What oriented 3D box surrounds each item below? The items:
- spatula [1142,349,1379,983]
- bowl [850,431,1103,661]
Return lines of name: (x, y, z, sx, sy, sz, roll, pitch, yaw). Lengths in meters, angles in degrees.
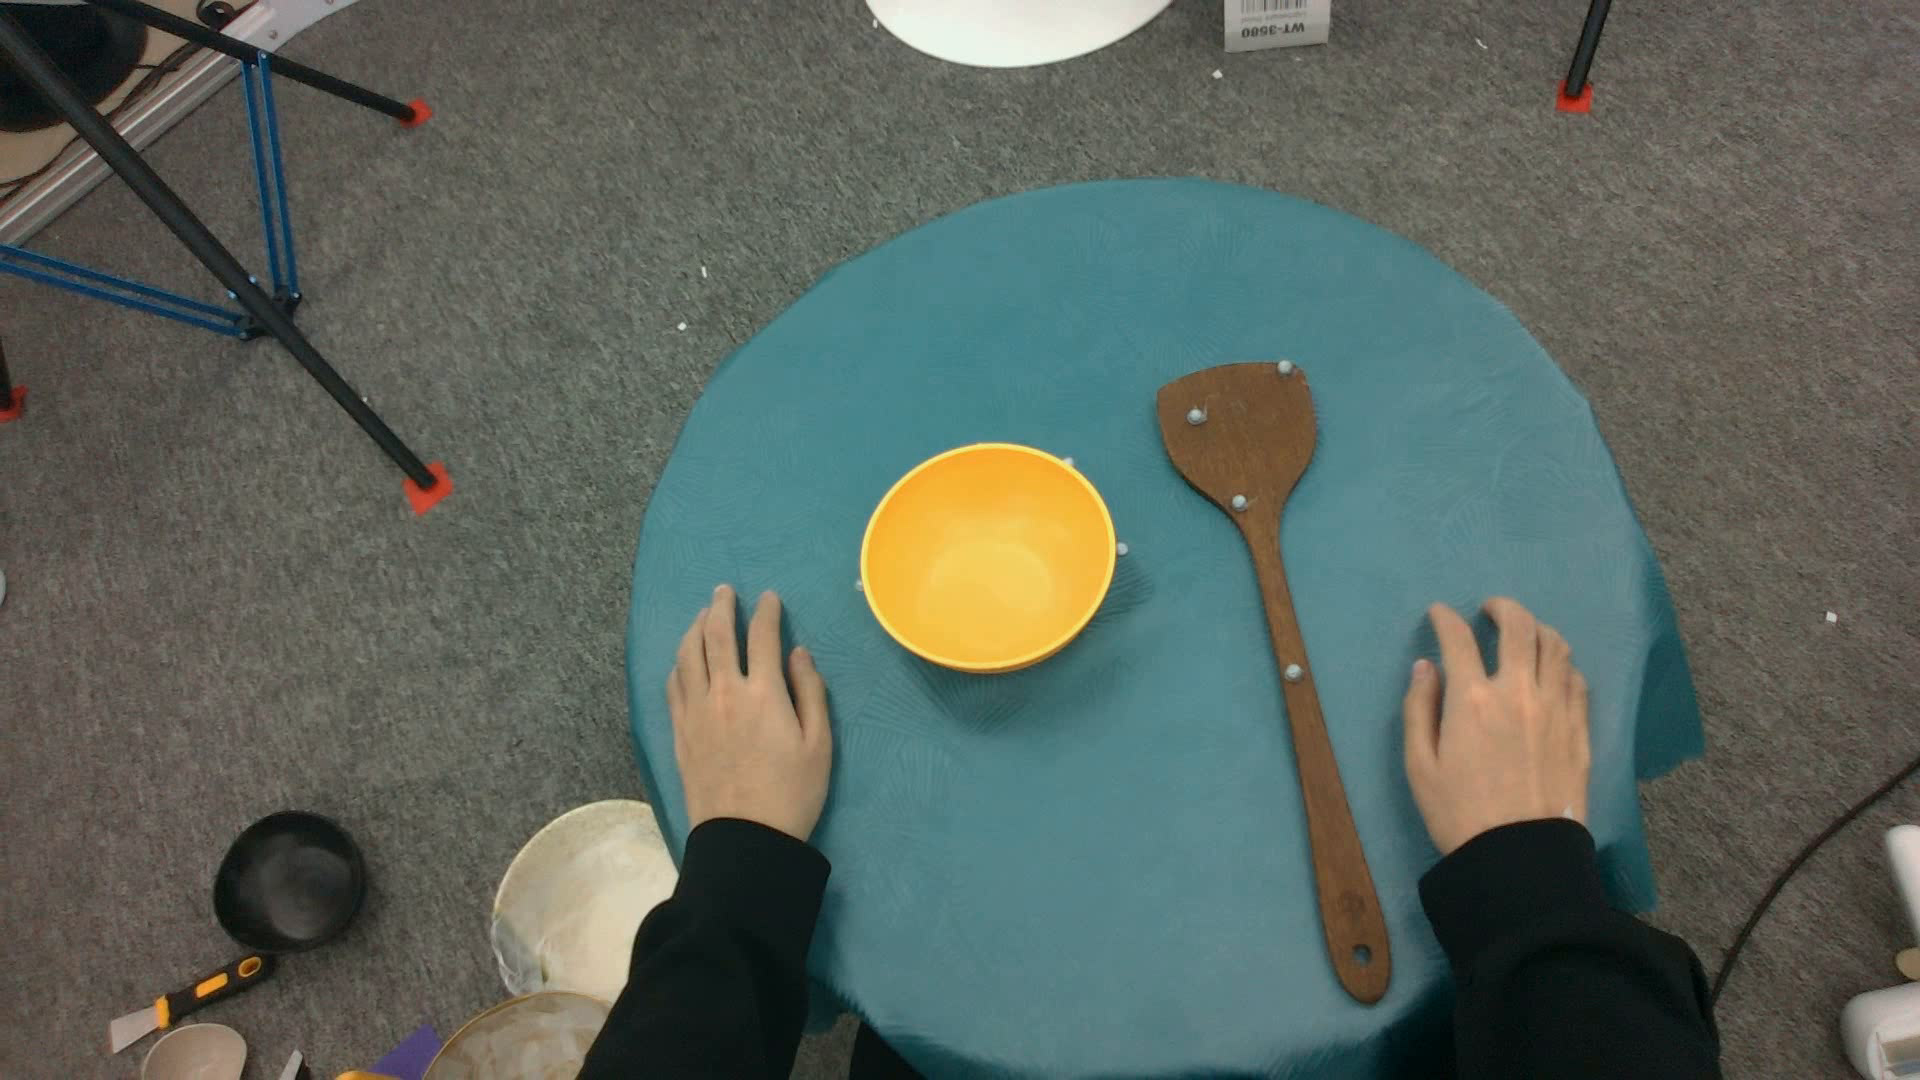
spatula: (0.177, 0.050, 0.773, 0.096, 0.016, 0.387, -9, 60, 4)
bowl: (0.013, 0.012, 0.796, 0.145, 0.060, 0.146, -5, 61, 9)
